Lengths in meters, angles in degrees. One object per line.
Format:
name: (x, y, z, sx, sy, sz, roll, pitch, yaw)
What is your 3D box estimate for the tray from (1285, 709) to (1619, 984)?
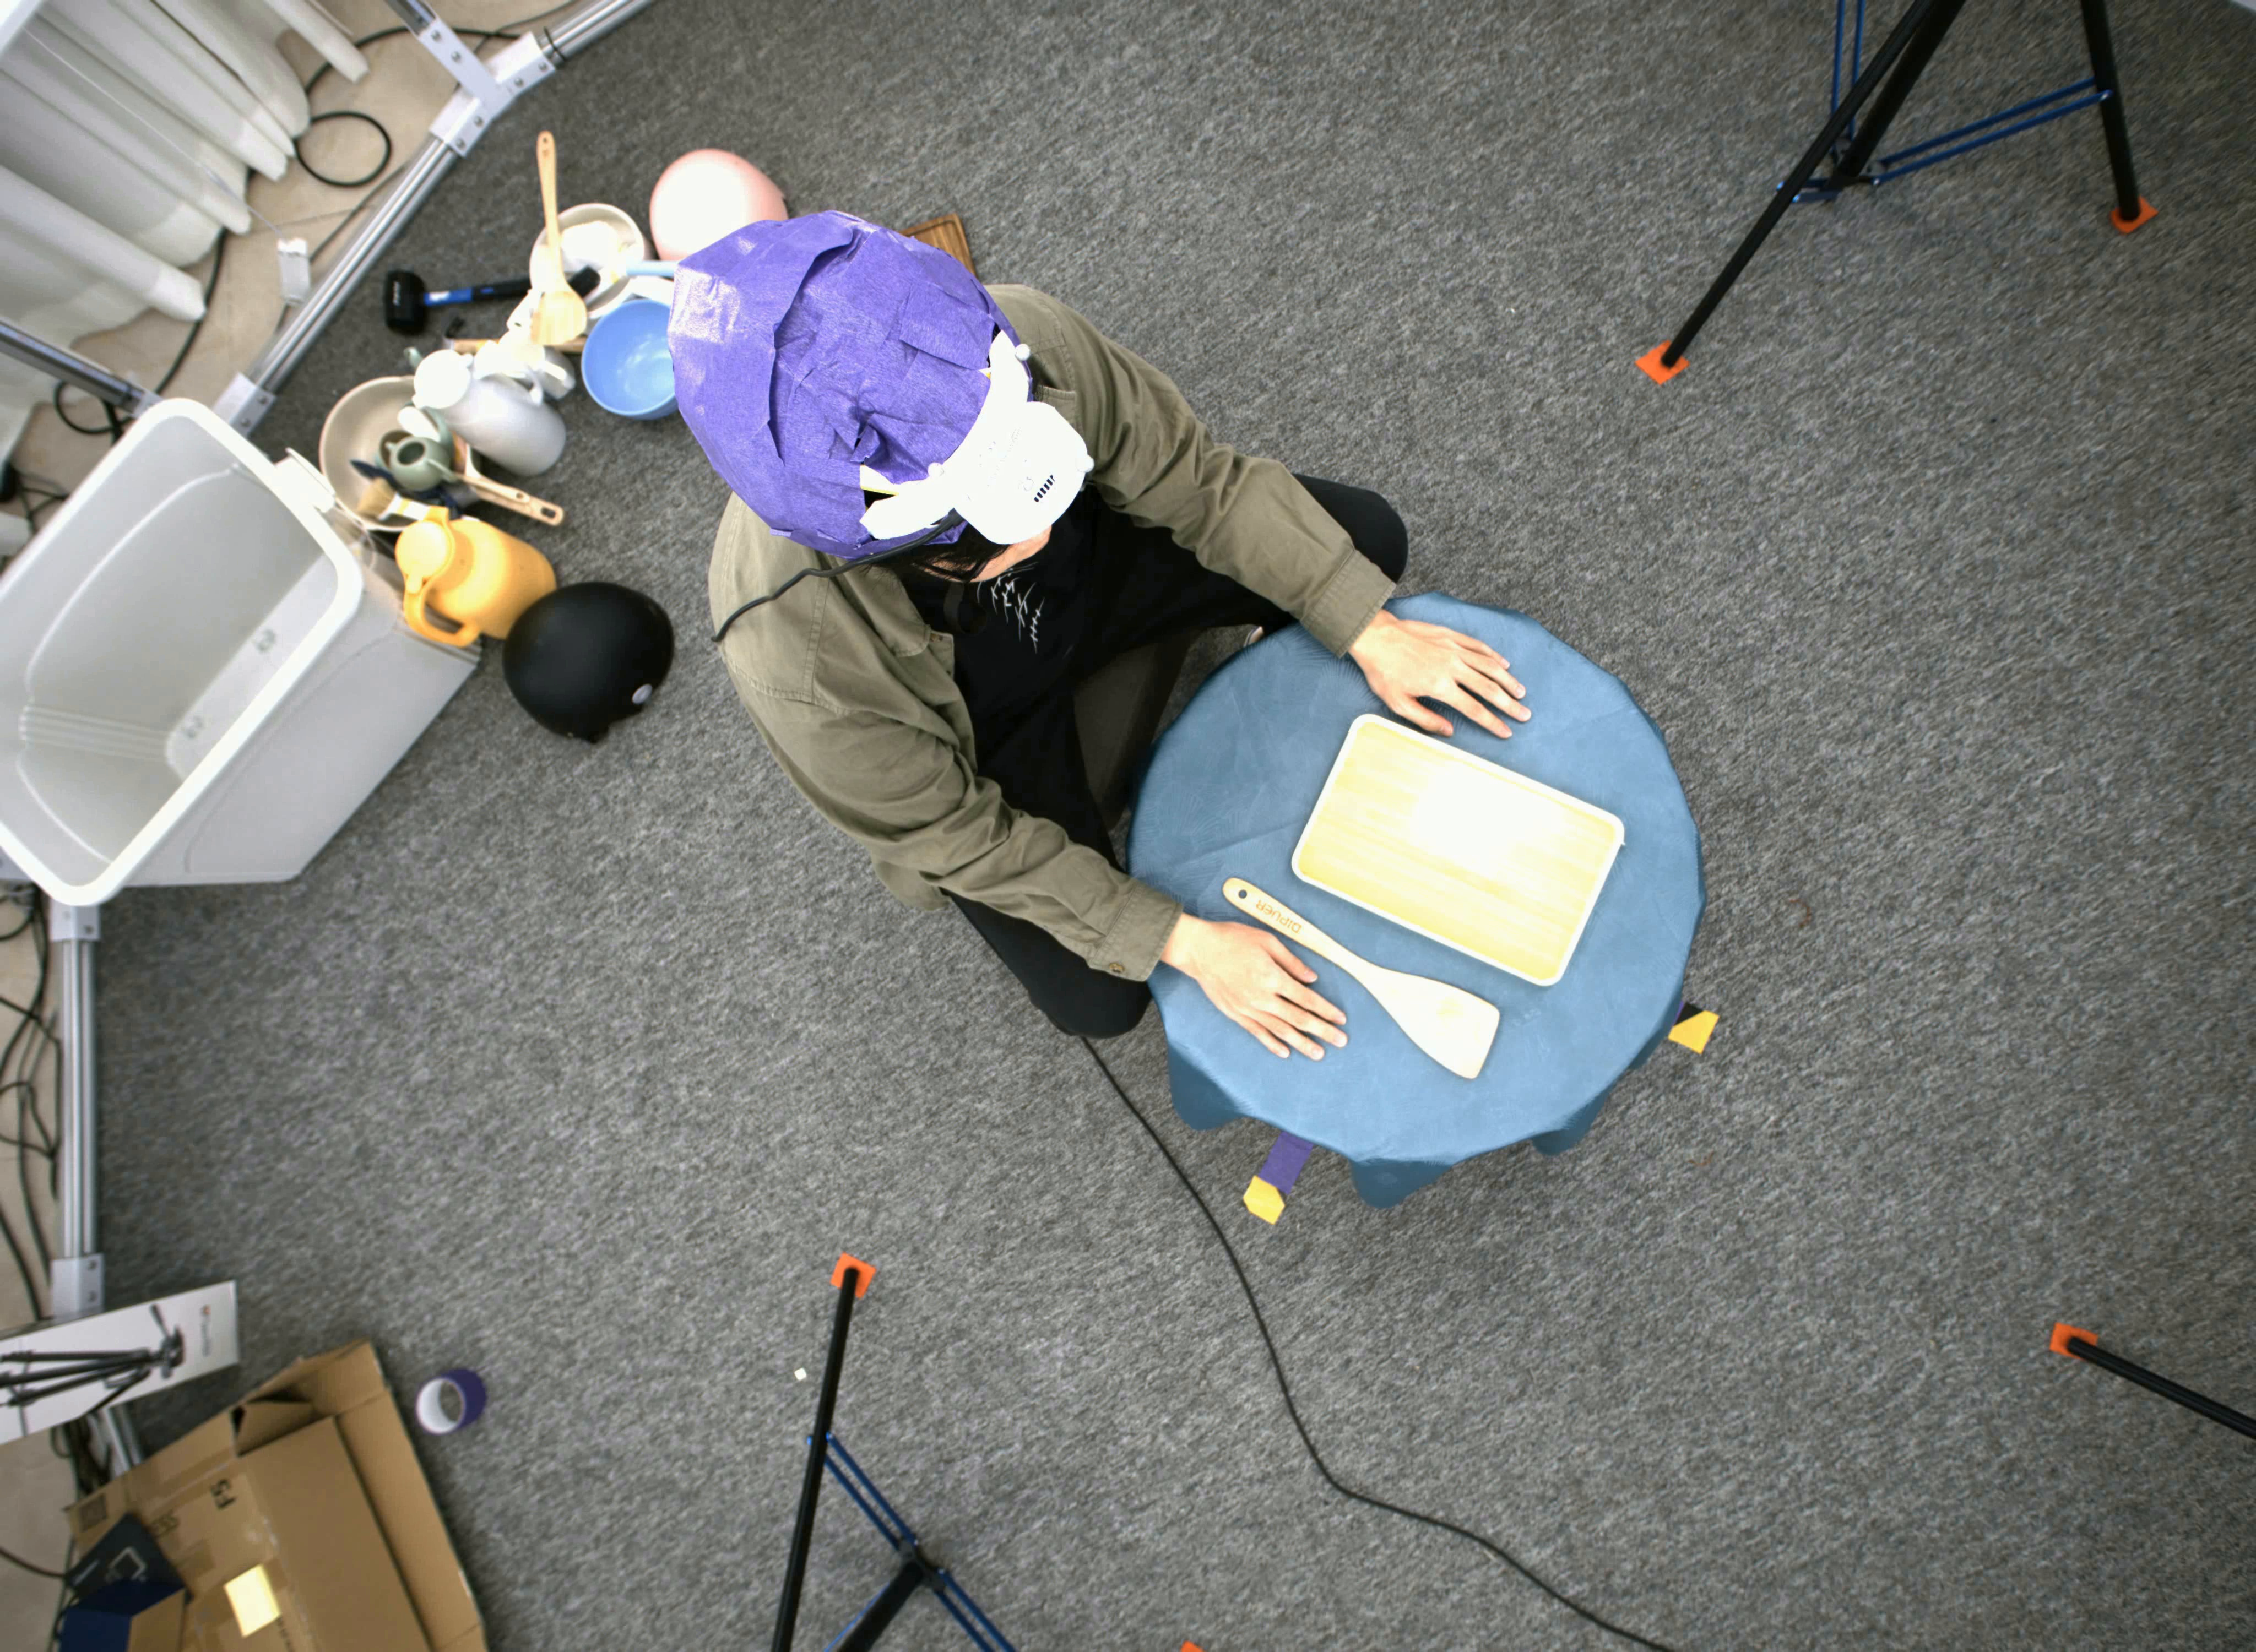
tray: (0.332, 0.018, 1.425, 0.300, 0.027, 0.191, 25, 92, 11)

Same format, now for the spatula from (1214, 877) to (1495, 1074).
spatula: (0.232, 0.141, 1.444, 0.327, 0.016, 0.080, 31, 93, 10)
